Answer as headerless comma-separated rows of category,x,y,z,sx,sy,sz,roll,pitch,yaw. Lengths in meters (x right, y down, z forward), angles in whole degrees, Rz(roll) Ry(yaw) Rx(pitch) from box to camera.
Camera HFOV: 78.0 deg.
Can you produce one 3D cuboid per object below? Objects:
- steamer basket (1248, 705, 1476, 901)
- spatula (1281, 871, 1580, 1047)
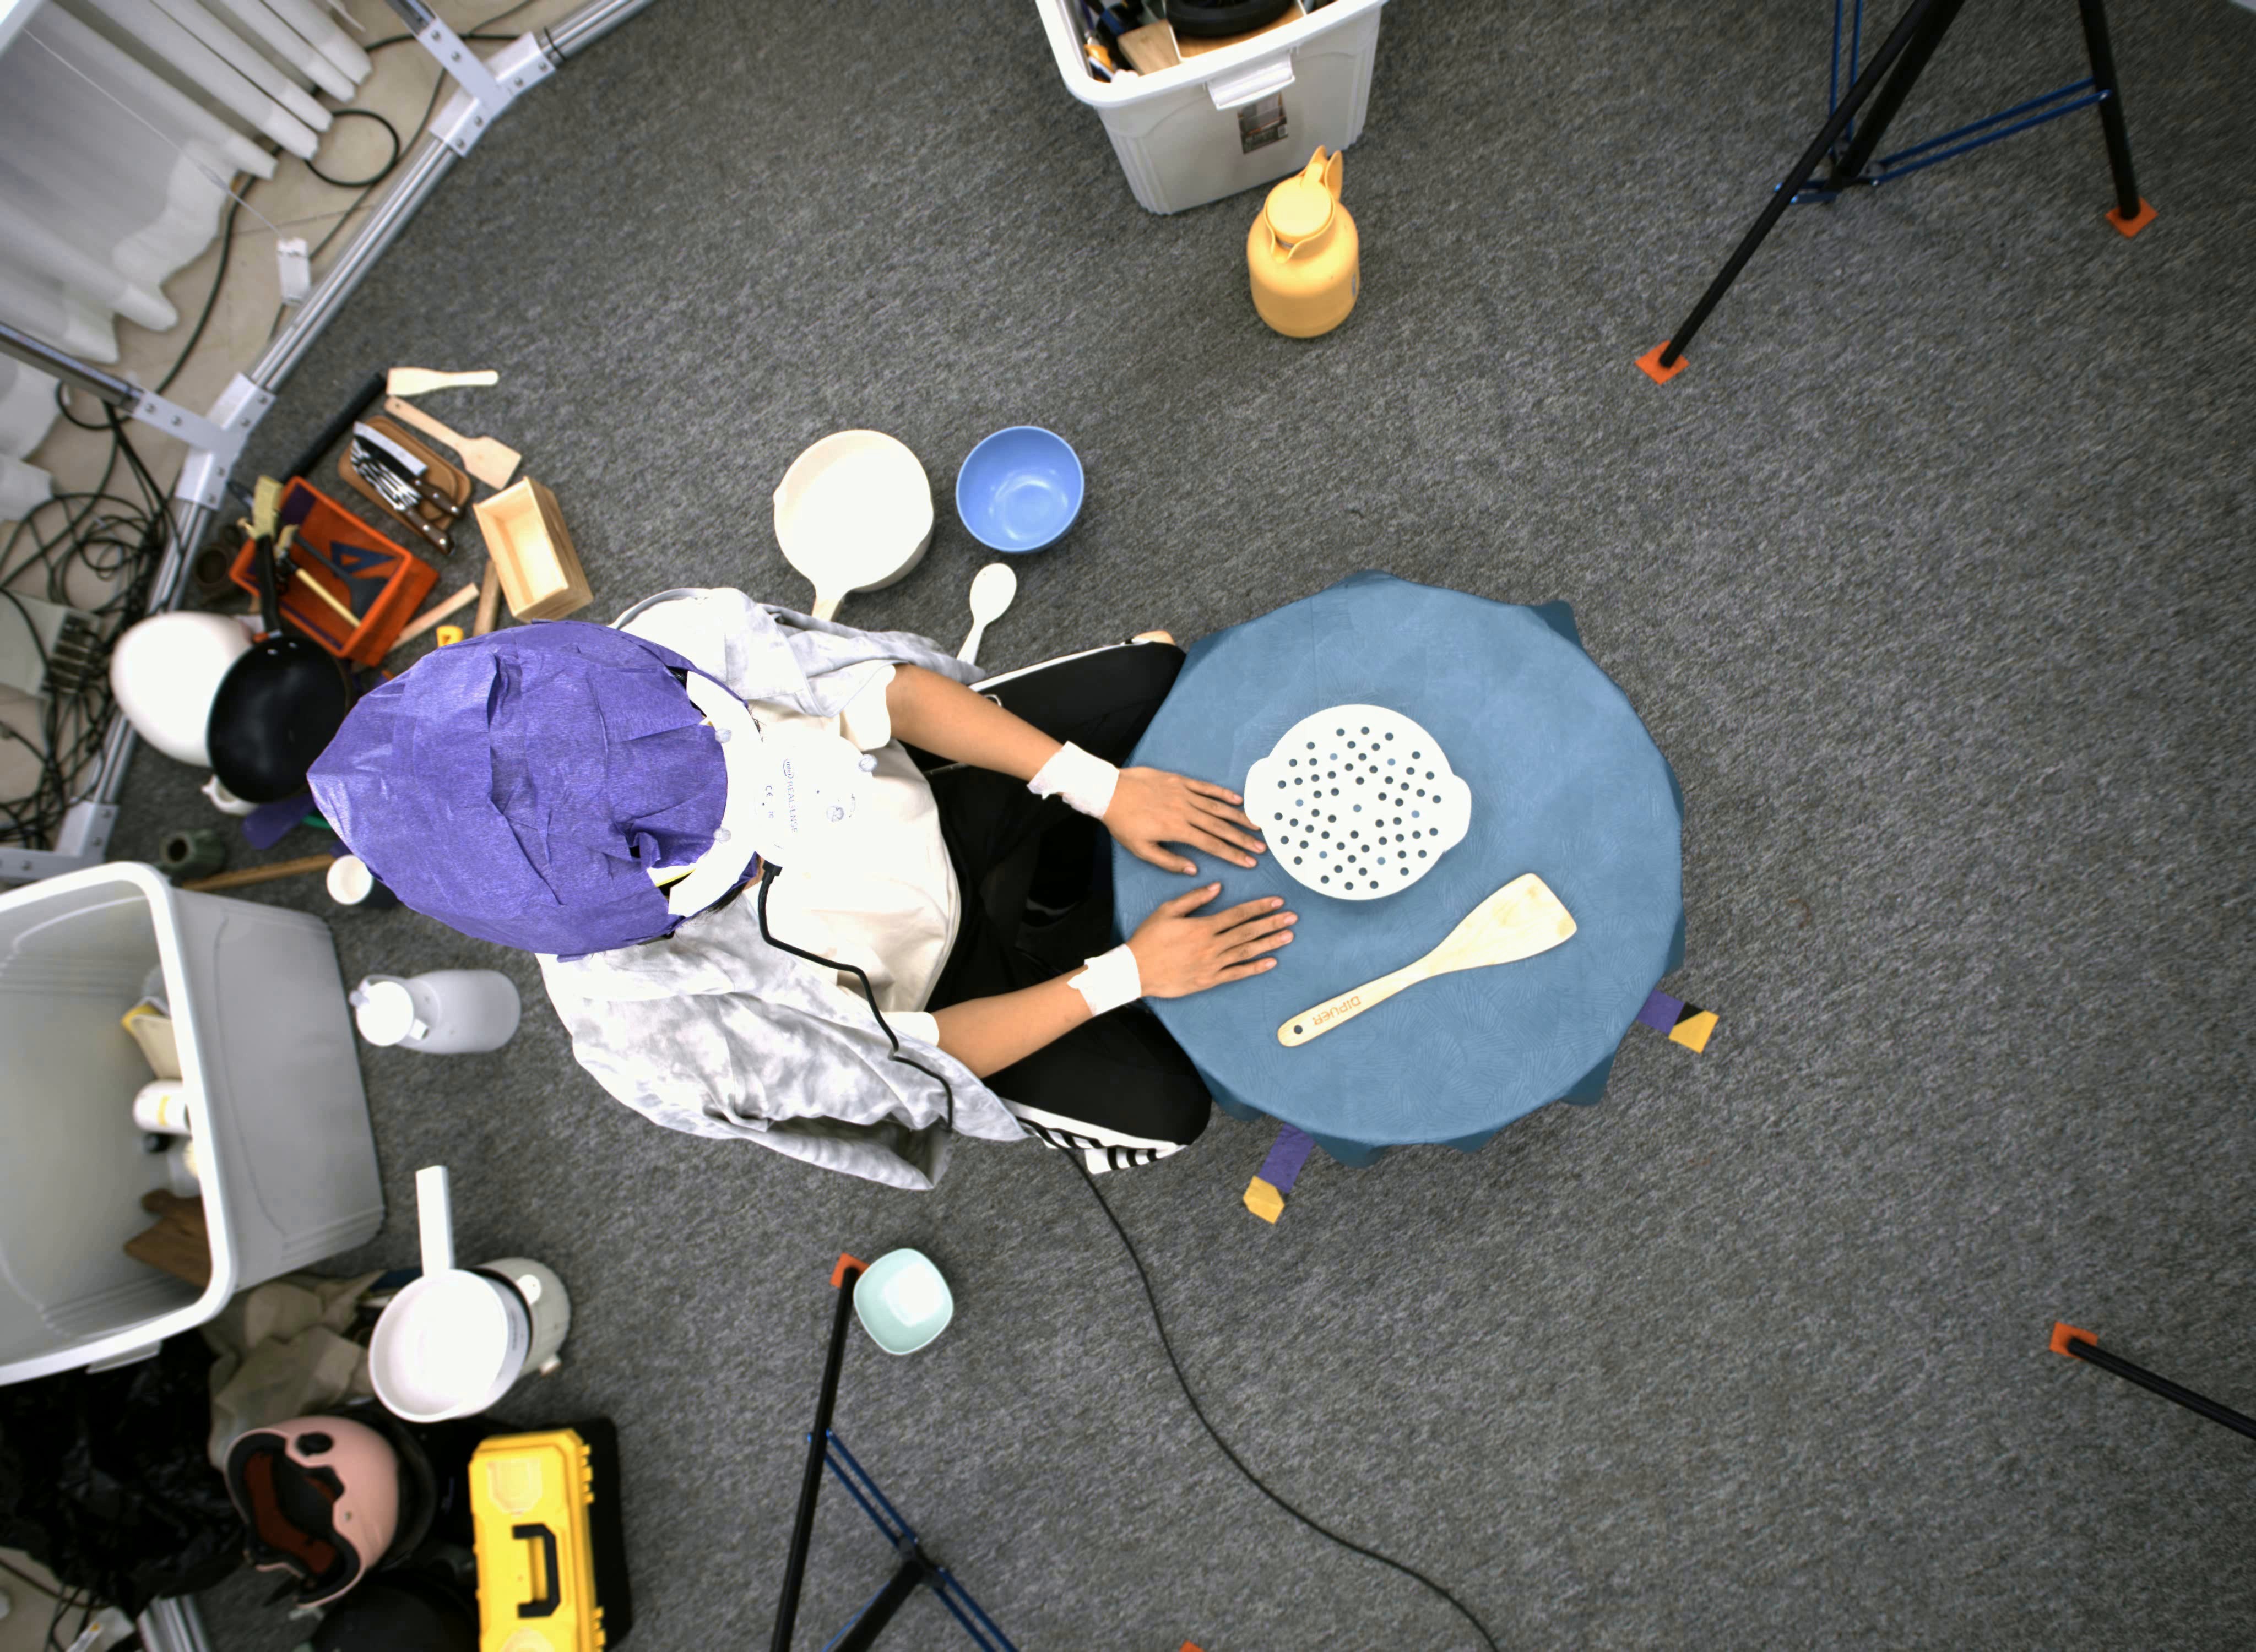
steamer basket,0.242,-0.023,1.435,0.231,0.069,0.201,6,86,12
spatula,0.306,0.147,1.438,0.329,0.016,0.079,-28,81,8
